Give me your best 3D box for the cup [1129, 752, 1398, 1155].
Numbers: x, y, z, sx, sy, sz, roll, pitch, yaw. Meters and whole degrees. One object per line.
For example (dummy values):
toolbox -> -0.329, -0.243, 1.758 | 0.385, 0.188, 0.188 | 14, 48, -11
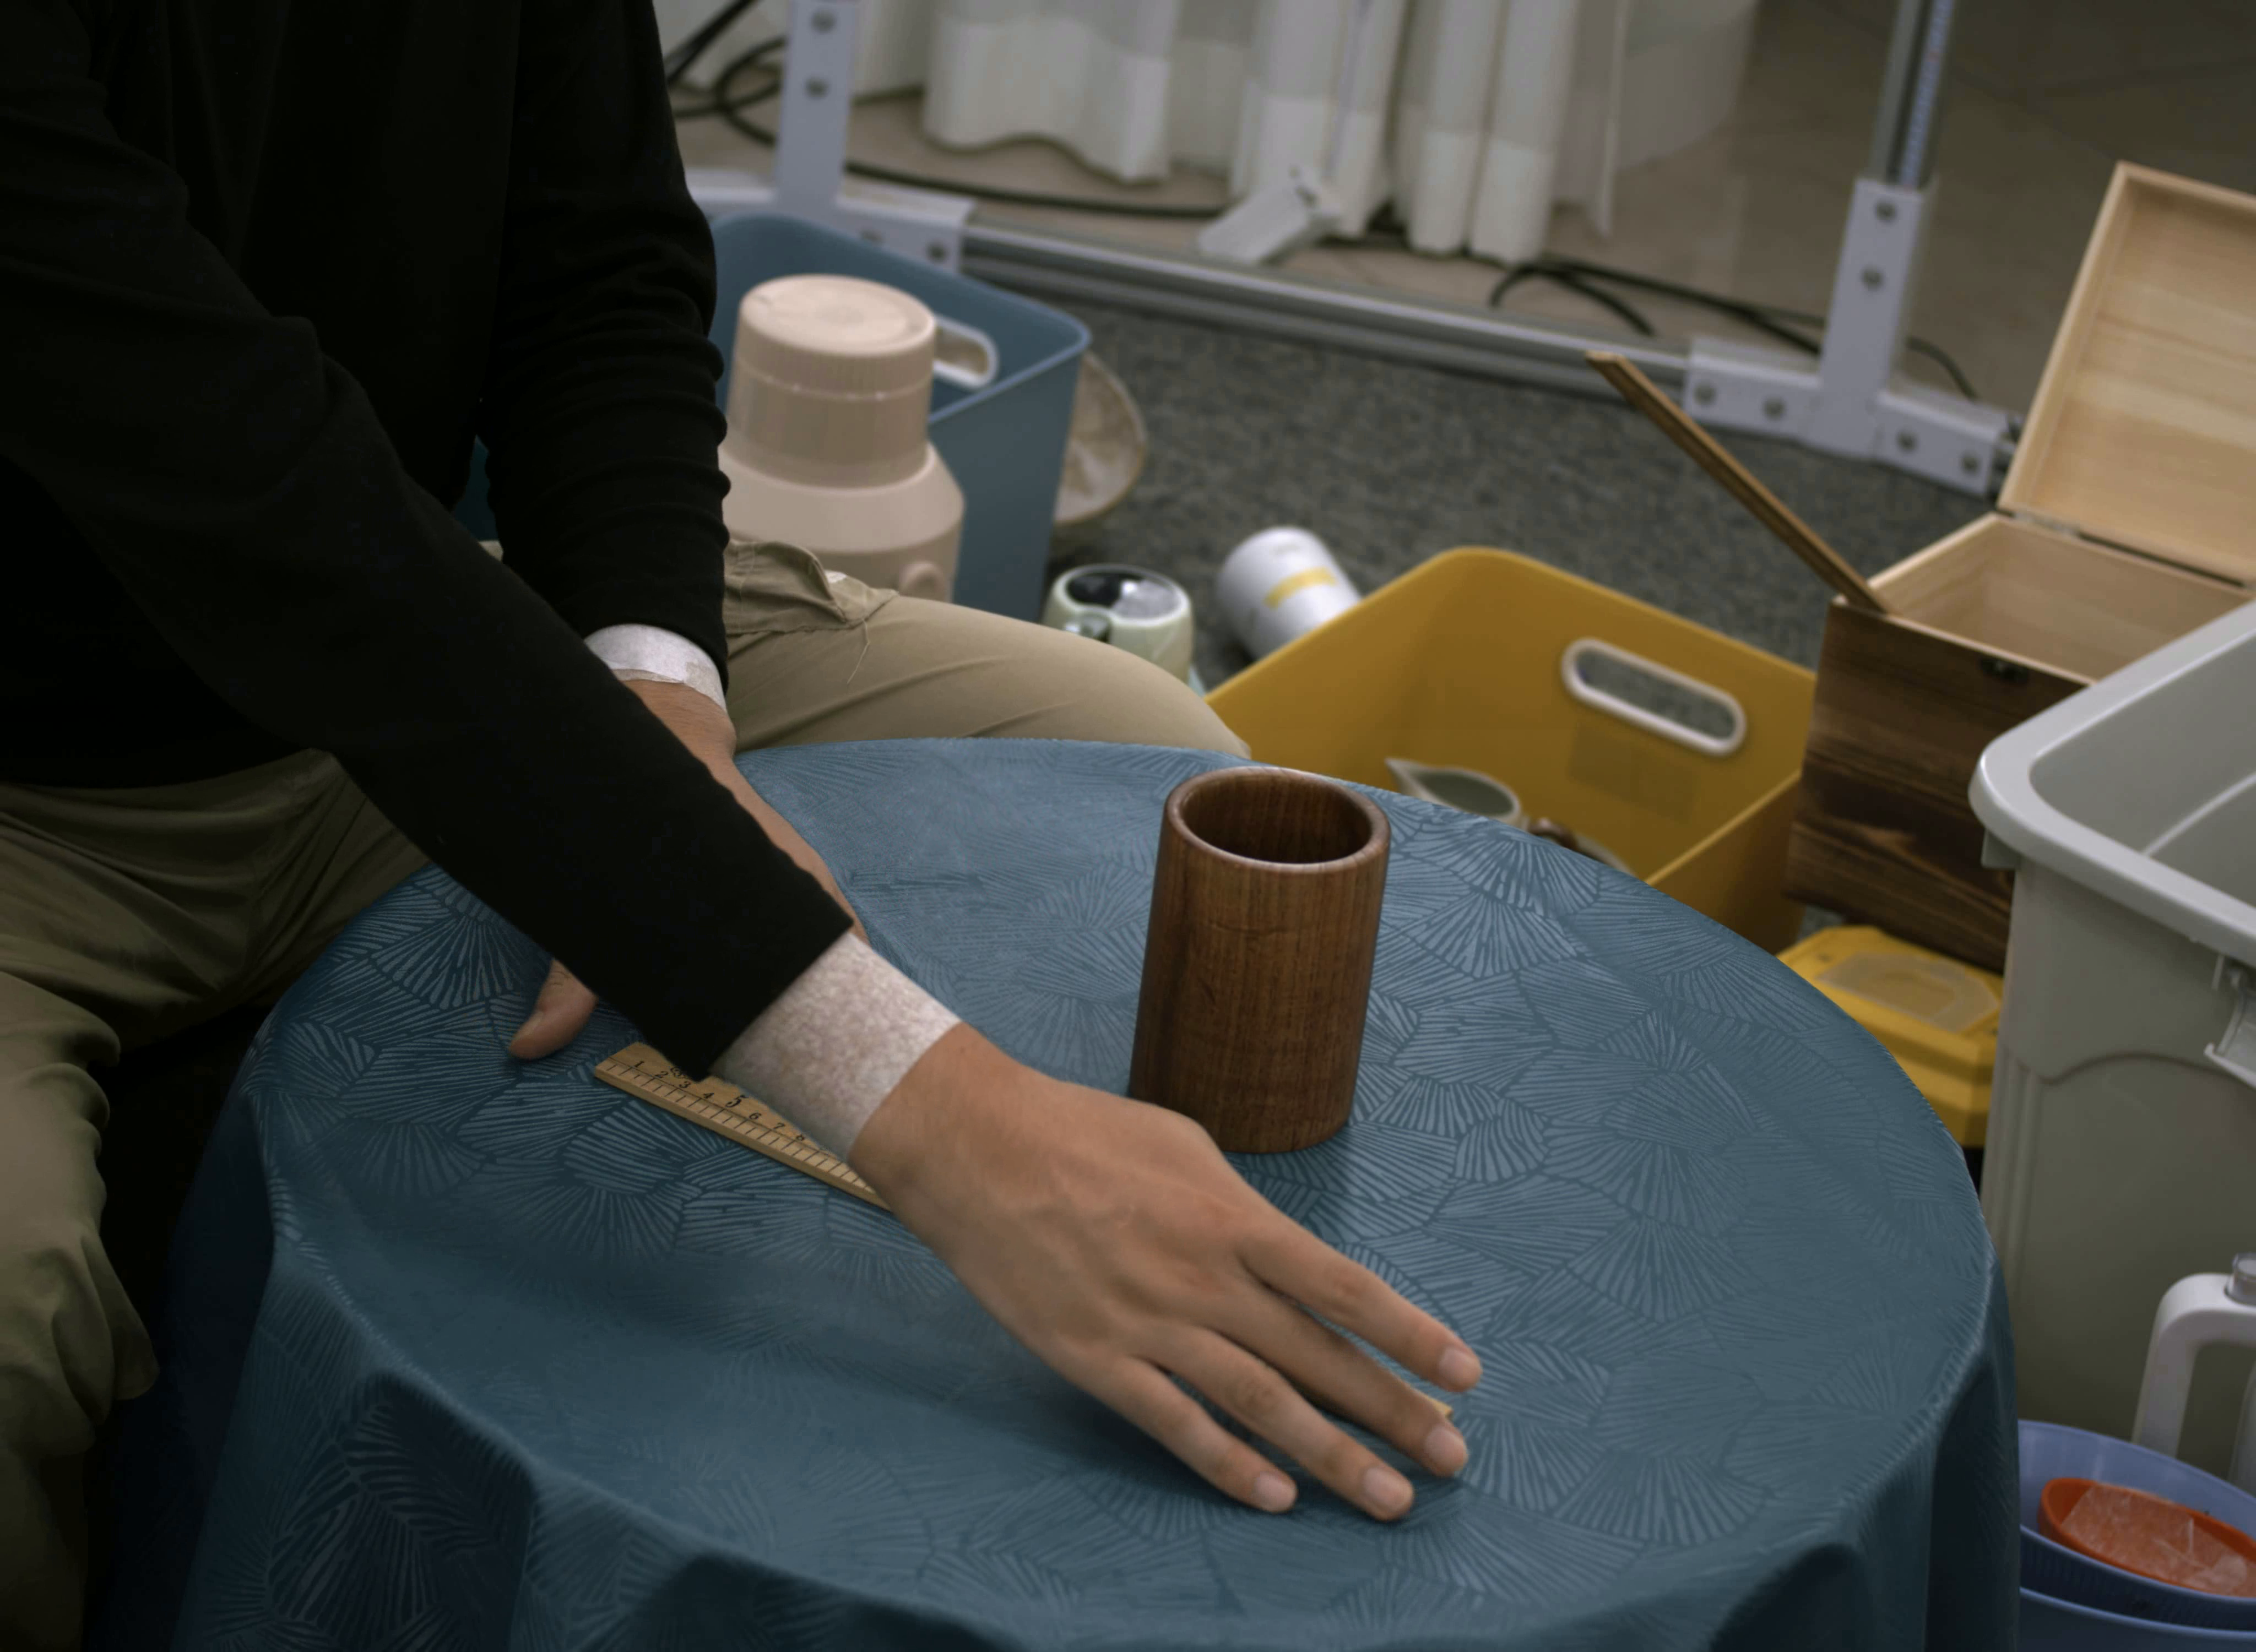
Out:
cup -> 0.046, 0.044, 1.840 | 0.087, 0.118, 0.088 | 6, 26, -3

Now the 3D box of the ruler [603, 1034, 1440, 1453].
ruler -> -0.041, 0.133, 1.764 | 0.334, 0.022, 0.027 | 23, 26, 29
